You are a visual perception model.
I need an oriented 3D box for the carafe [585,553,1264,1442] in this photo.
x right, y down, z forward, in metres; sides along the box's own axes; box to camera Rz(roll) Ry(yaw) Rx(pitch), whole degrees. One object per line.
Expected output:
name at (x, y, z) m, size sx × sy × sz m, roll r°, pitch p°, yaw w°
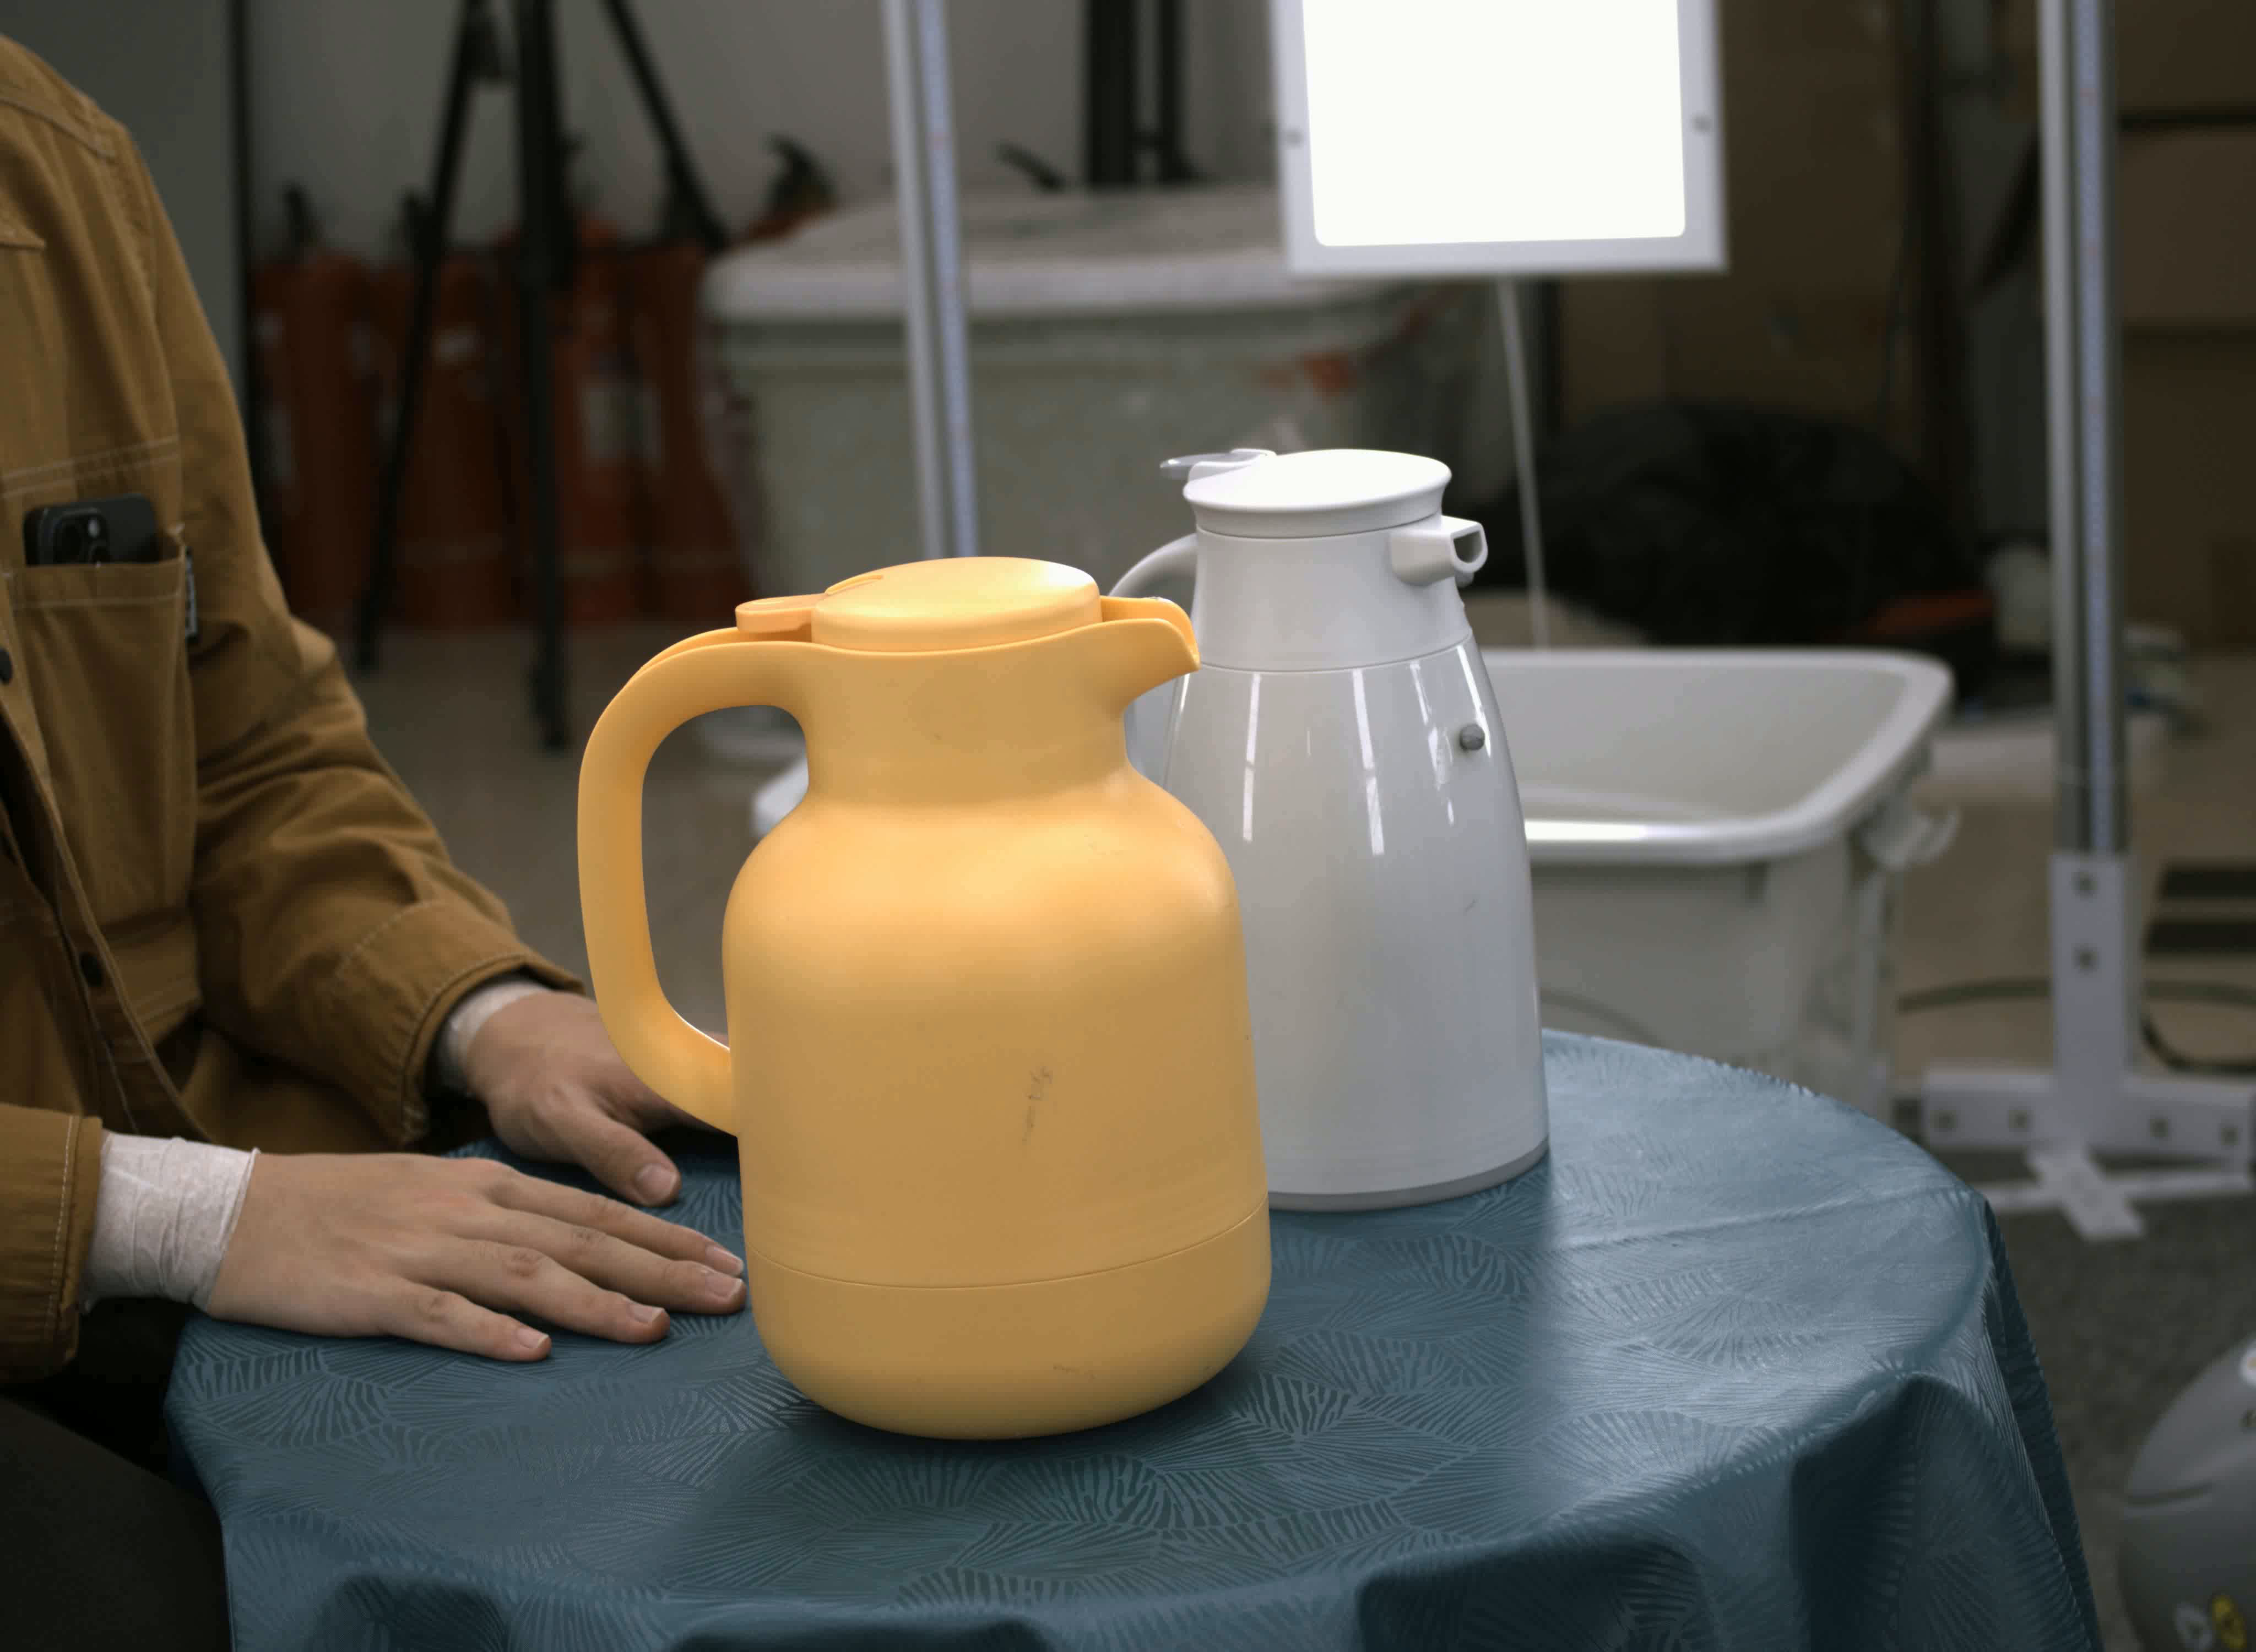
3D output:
carafe at (-0.063, 0.049, 1.695) m, size 0.203 × 0.261 × 0.162 m, roll -1°, pitch 12°, yaw 10°

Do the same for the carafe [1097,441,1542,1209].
carafe at (0.056, -0.008, 1.900) m, size 0.171 × 0.249 × 0.129 m, roll 6°, pitch 17°, yaw 39°
